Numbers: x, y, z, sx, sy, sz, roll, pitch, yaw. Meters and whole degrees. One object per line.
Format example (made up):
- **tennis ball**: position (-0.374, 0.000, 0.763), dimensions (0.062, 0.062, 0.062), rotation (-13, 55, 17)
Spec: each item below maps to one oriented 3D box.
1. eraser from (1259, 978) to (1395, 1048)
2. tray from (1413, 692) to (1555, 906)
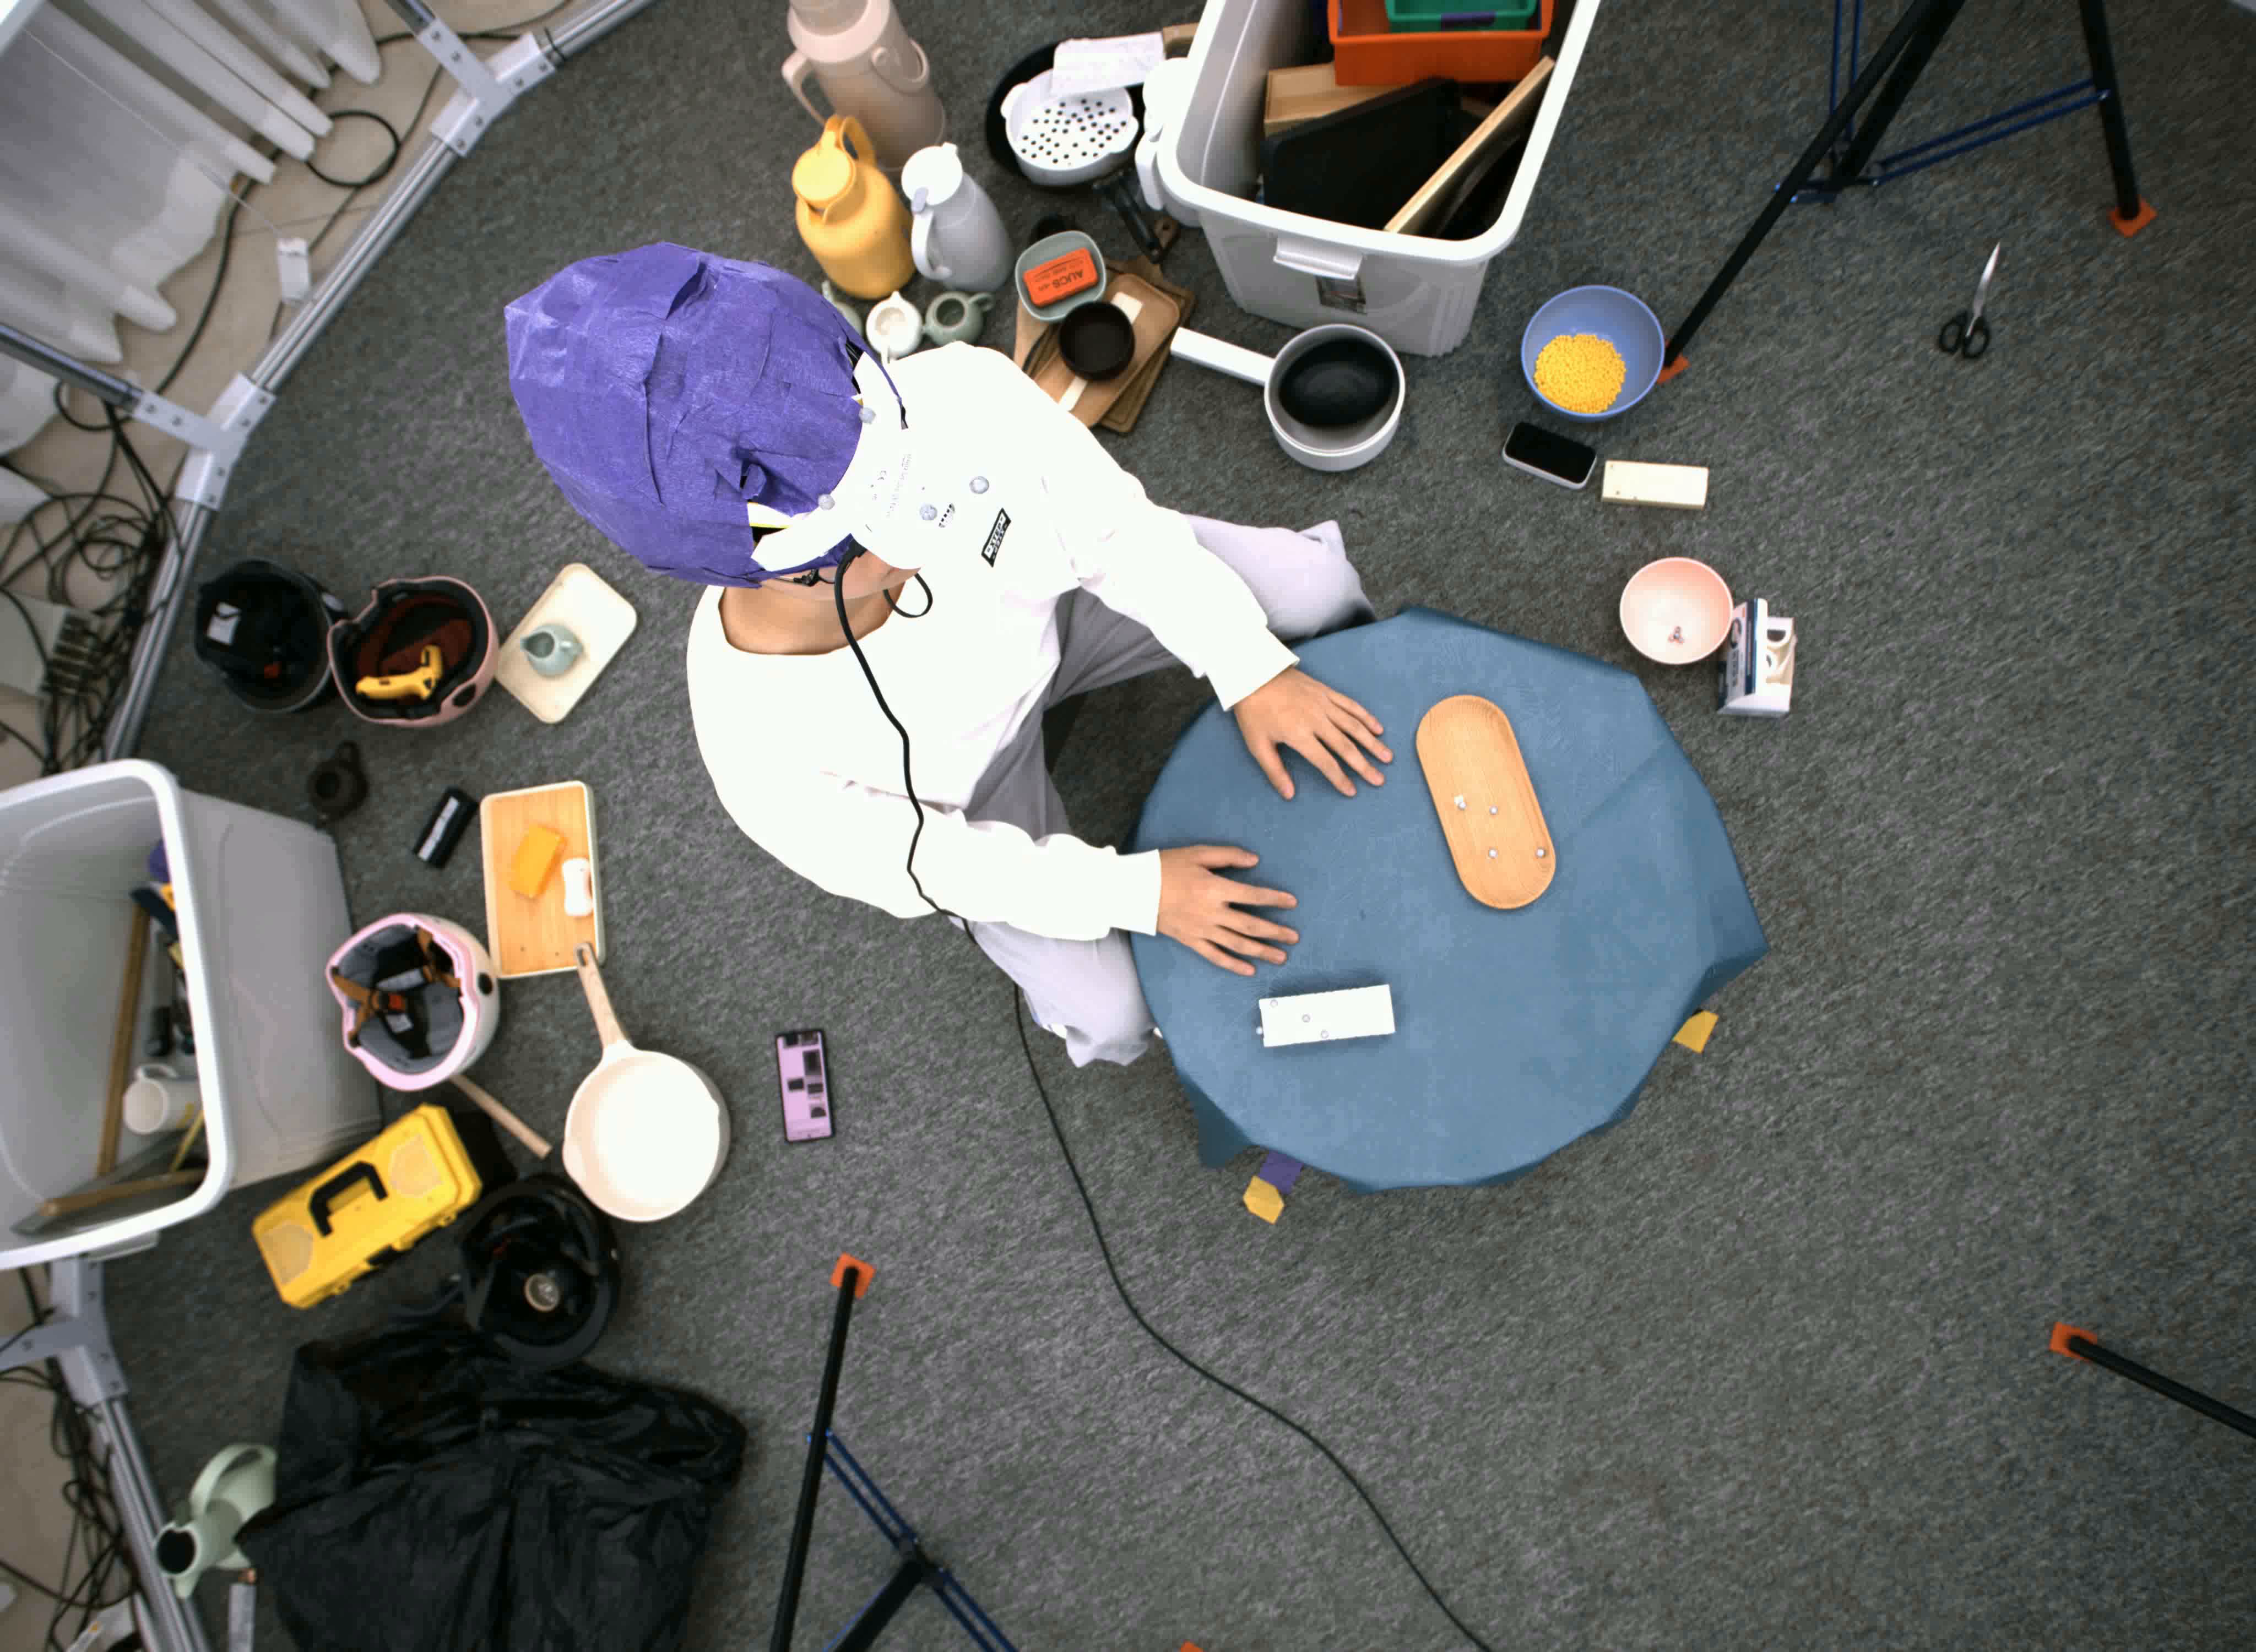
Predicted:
- **eraser**: position (0.207, 0.194, 1.440), dimensions (0.135, 0.047, 0.049), rotation (-12, 78, 10)
- **tray**: position (0.372, -0.031, 1.438), dimensions (0.102, 0.020, 0.229), rotation (-19, 82, 8)
